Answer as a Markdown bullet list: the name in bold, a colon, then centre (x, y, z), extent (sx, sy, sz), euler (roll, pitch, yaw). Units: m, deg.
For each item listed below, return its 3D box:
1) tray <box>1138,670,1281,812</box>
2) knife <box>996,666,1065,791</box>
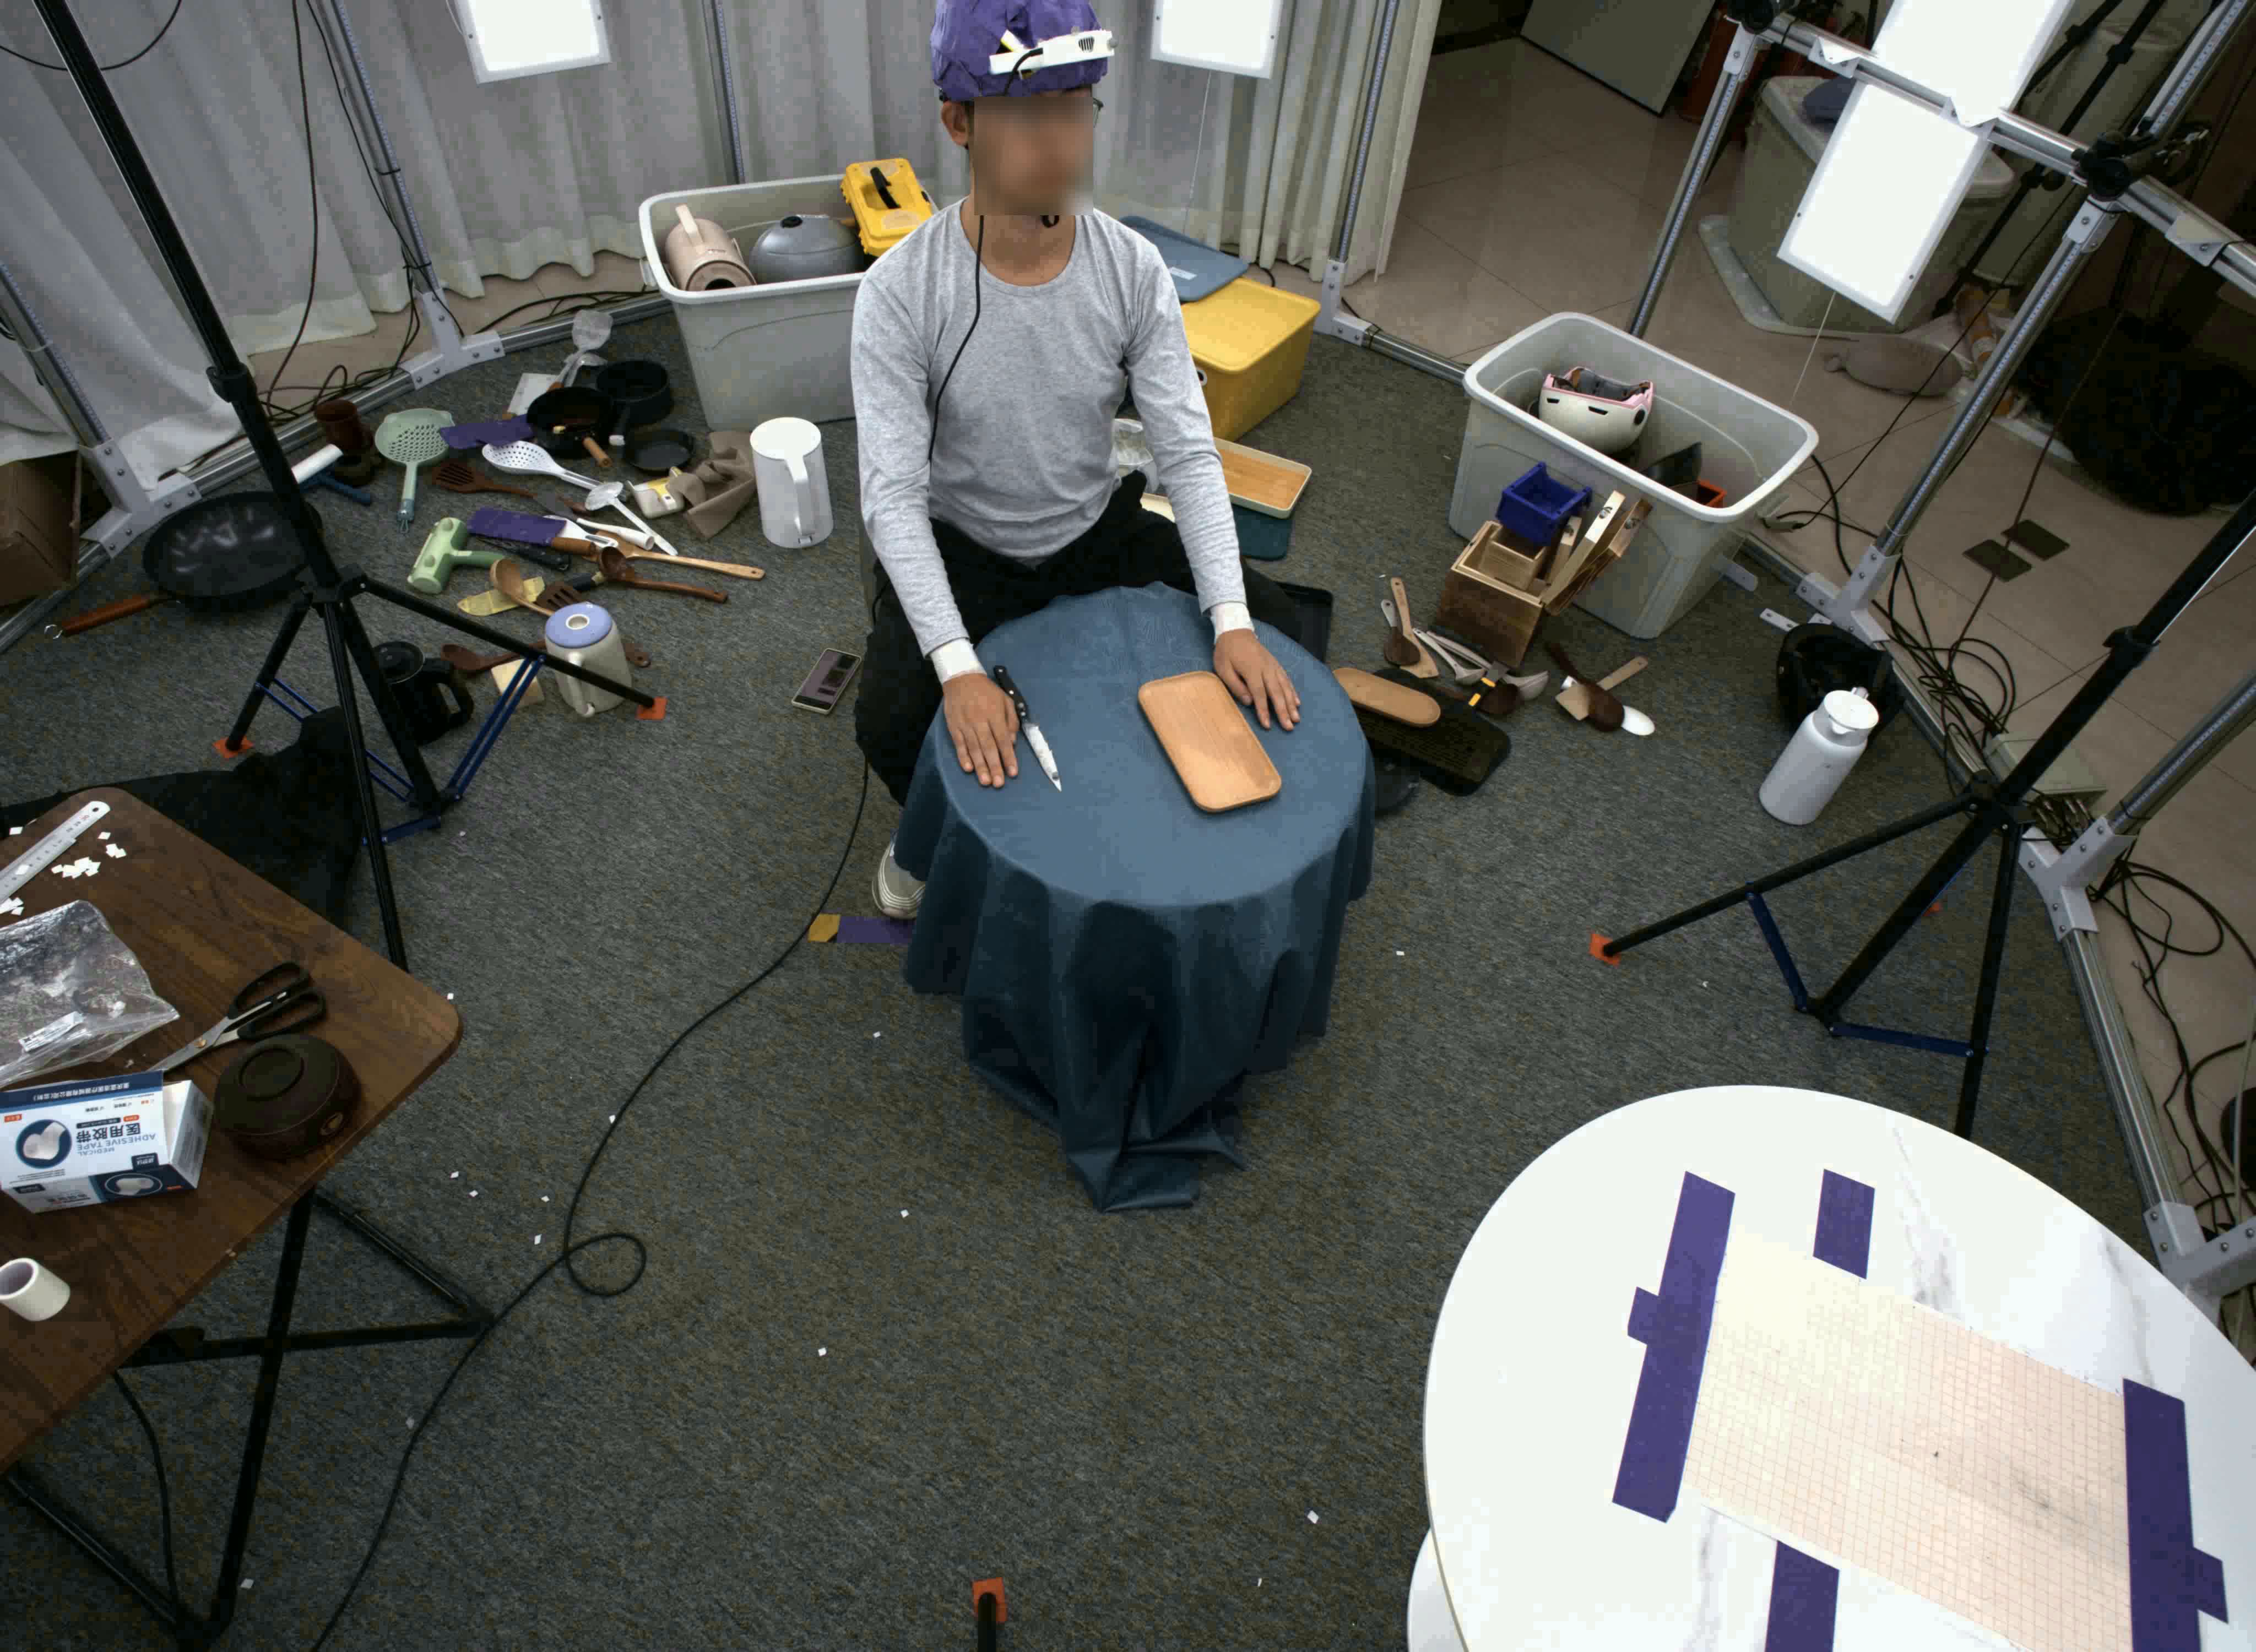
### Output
- **tray**: centre (0.109, -0.121, 1.769), extent (0.130, 0.022, 0.257), euler (-12, 50, -17)
- **knife**: centre (-0.135, -0.135, 1.768), extent (0.024, 0.016, 0.243), euler (-16, 55, -17)
